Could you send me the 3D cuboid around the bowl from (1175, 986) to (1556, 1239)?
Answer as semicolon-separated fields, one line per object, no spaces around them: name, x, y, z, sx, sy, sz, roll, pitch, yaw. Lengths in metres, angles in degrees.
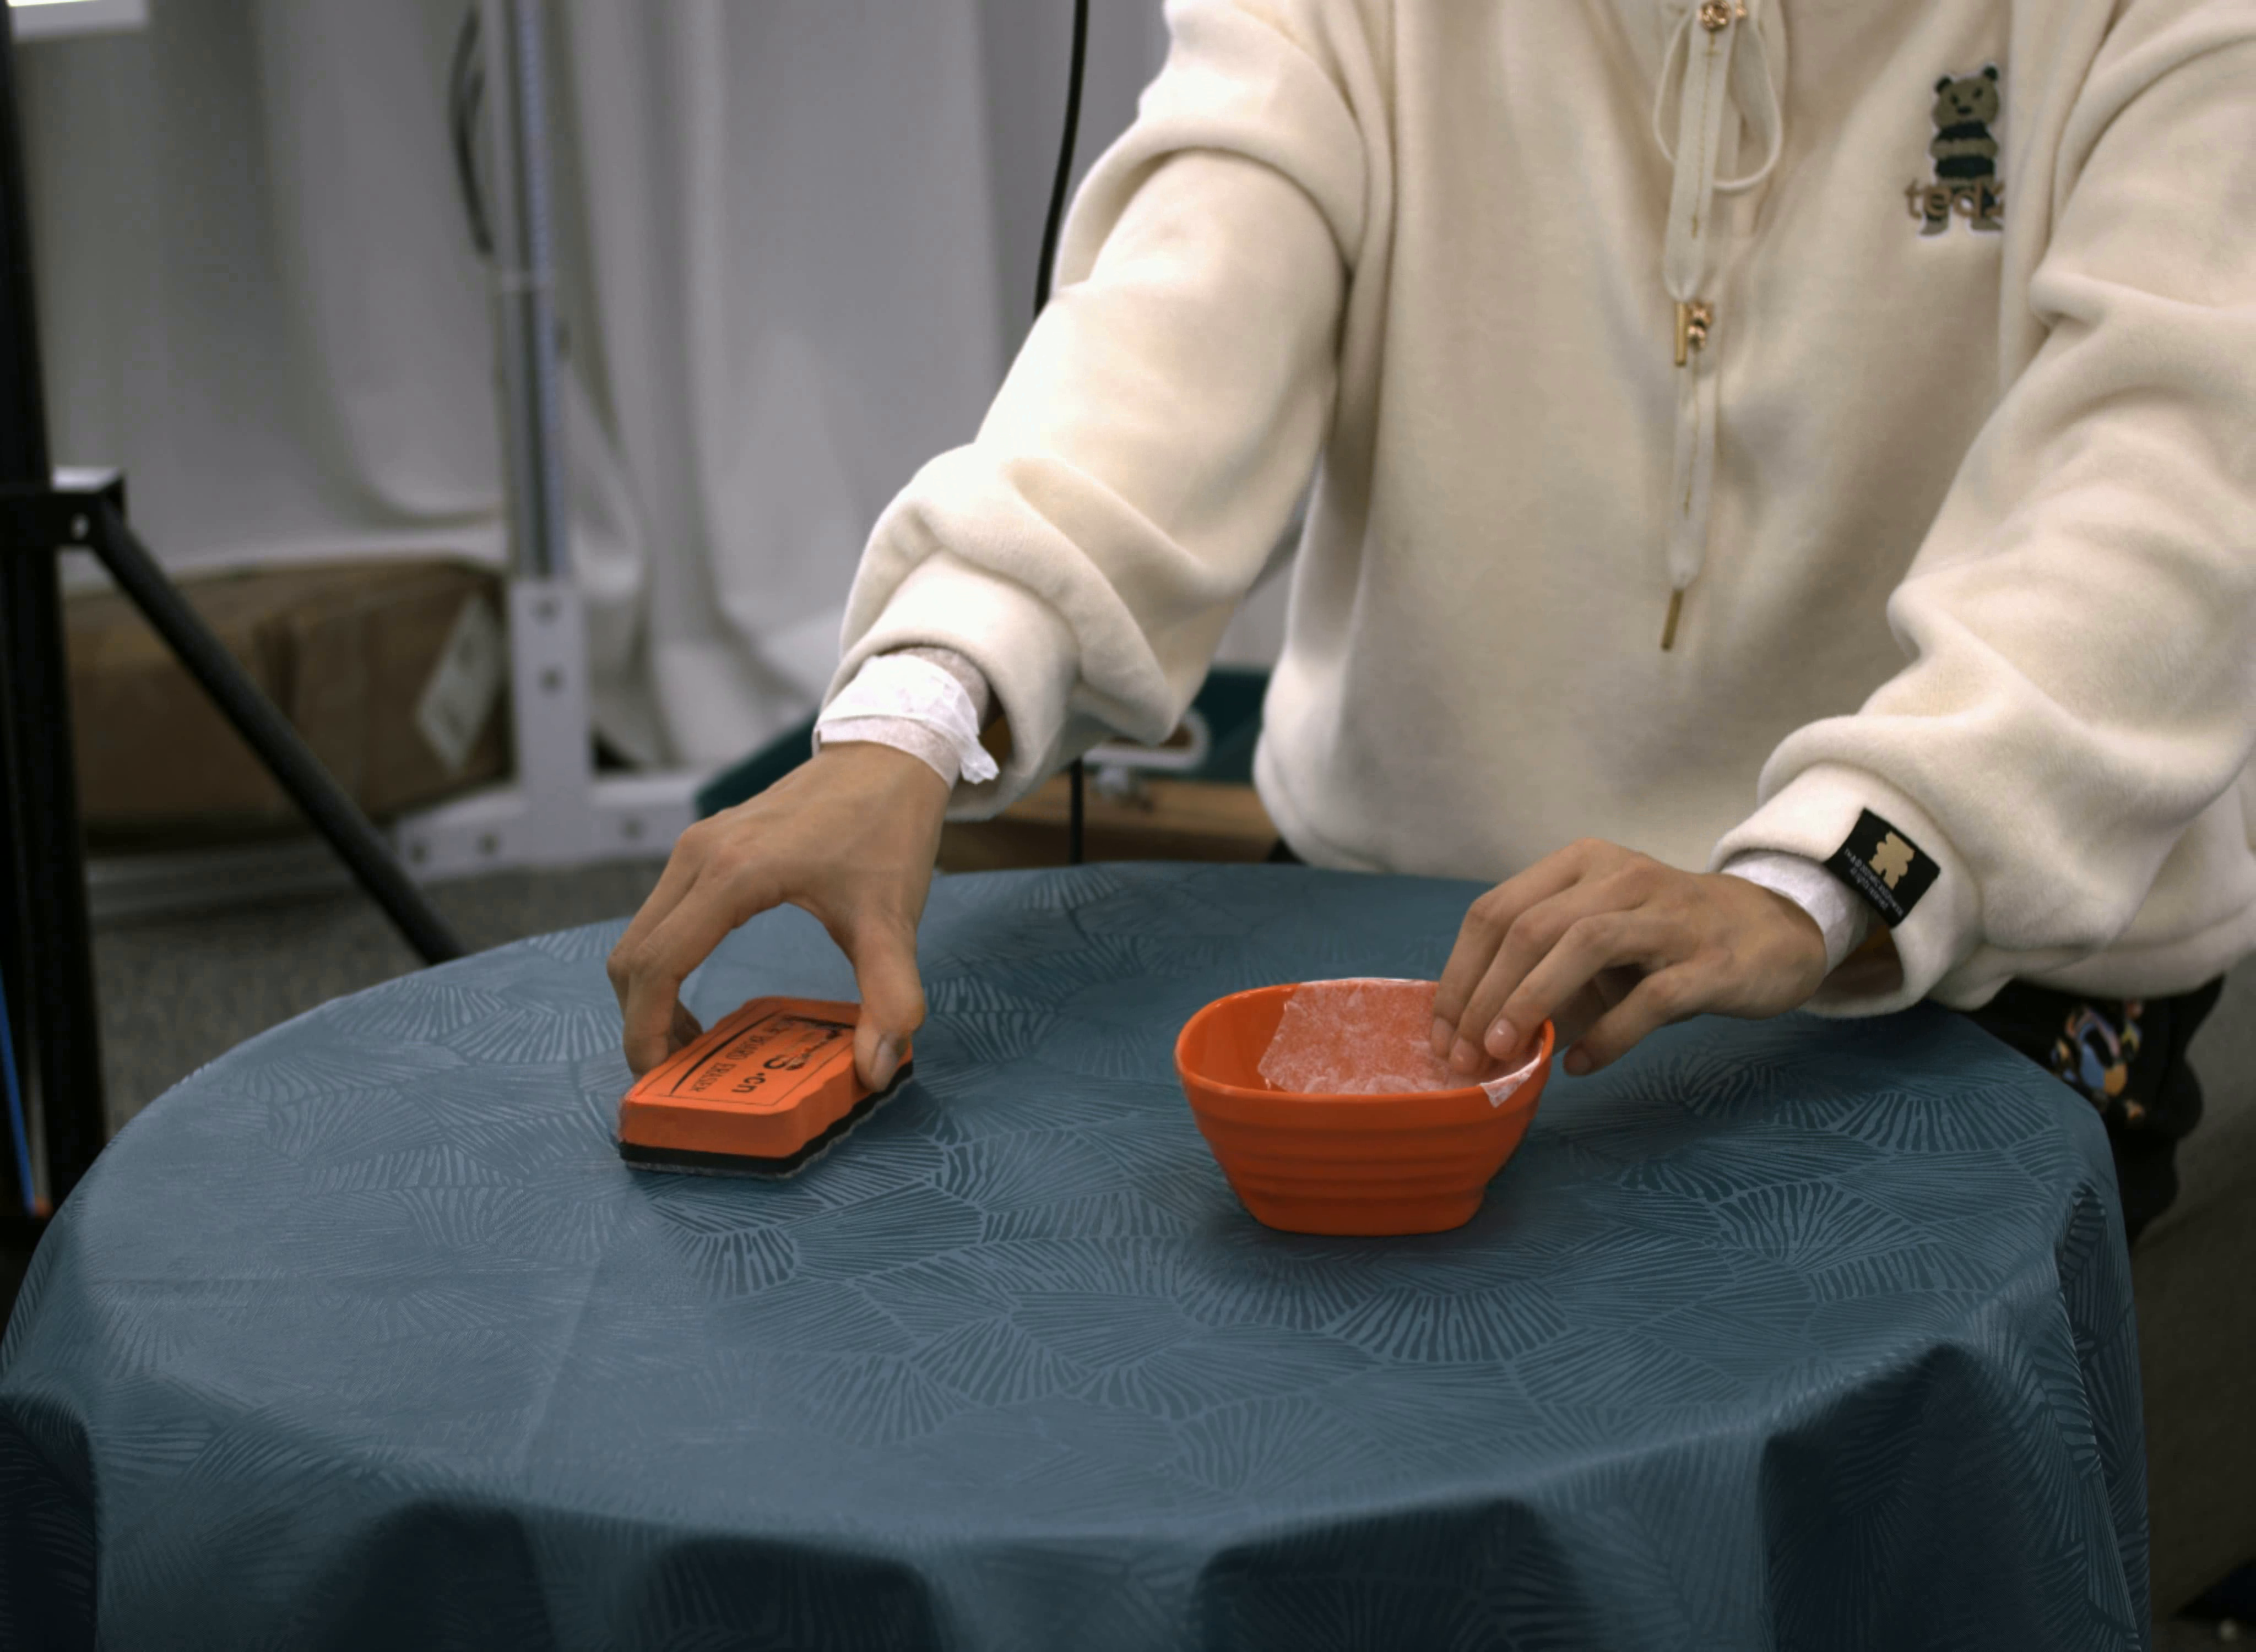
bowl;0.070;0.085;1.535;0.118;0.051;0.119;-3;14;-1

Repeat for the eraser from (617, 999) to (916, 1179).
eraser;-0.110;0.080;1.633;0.060;0.023;0.106;2;16;23
